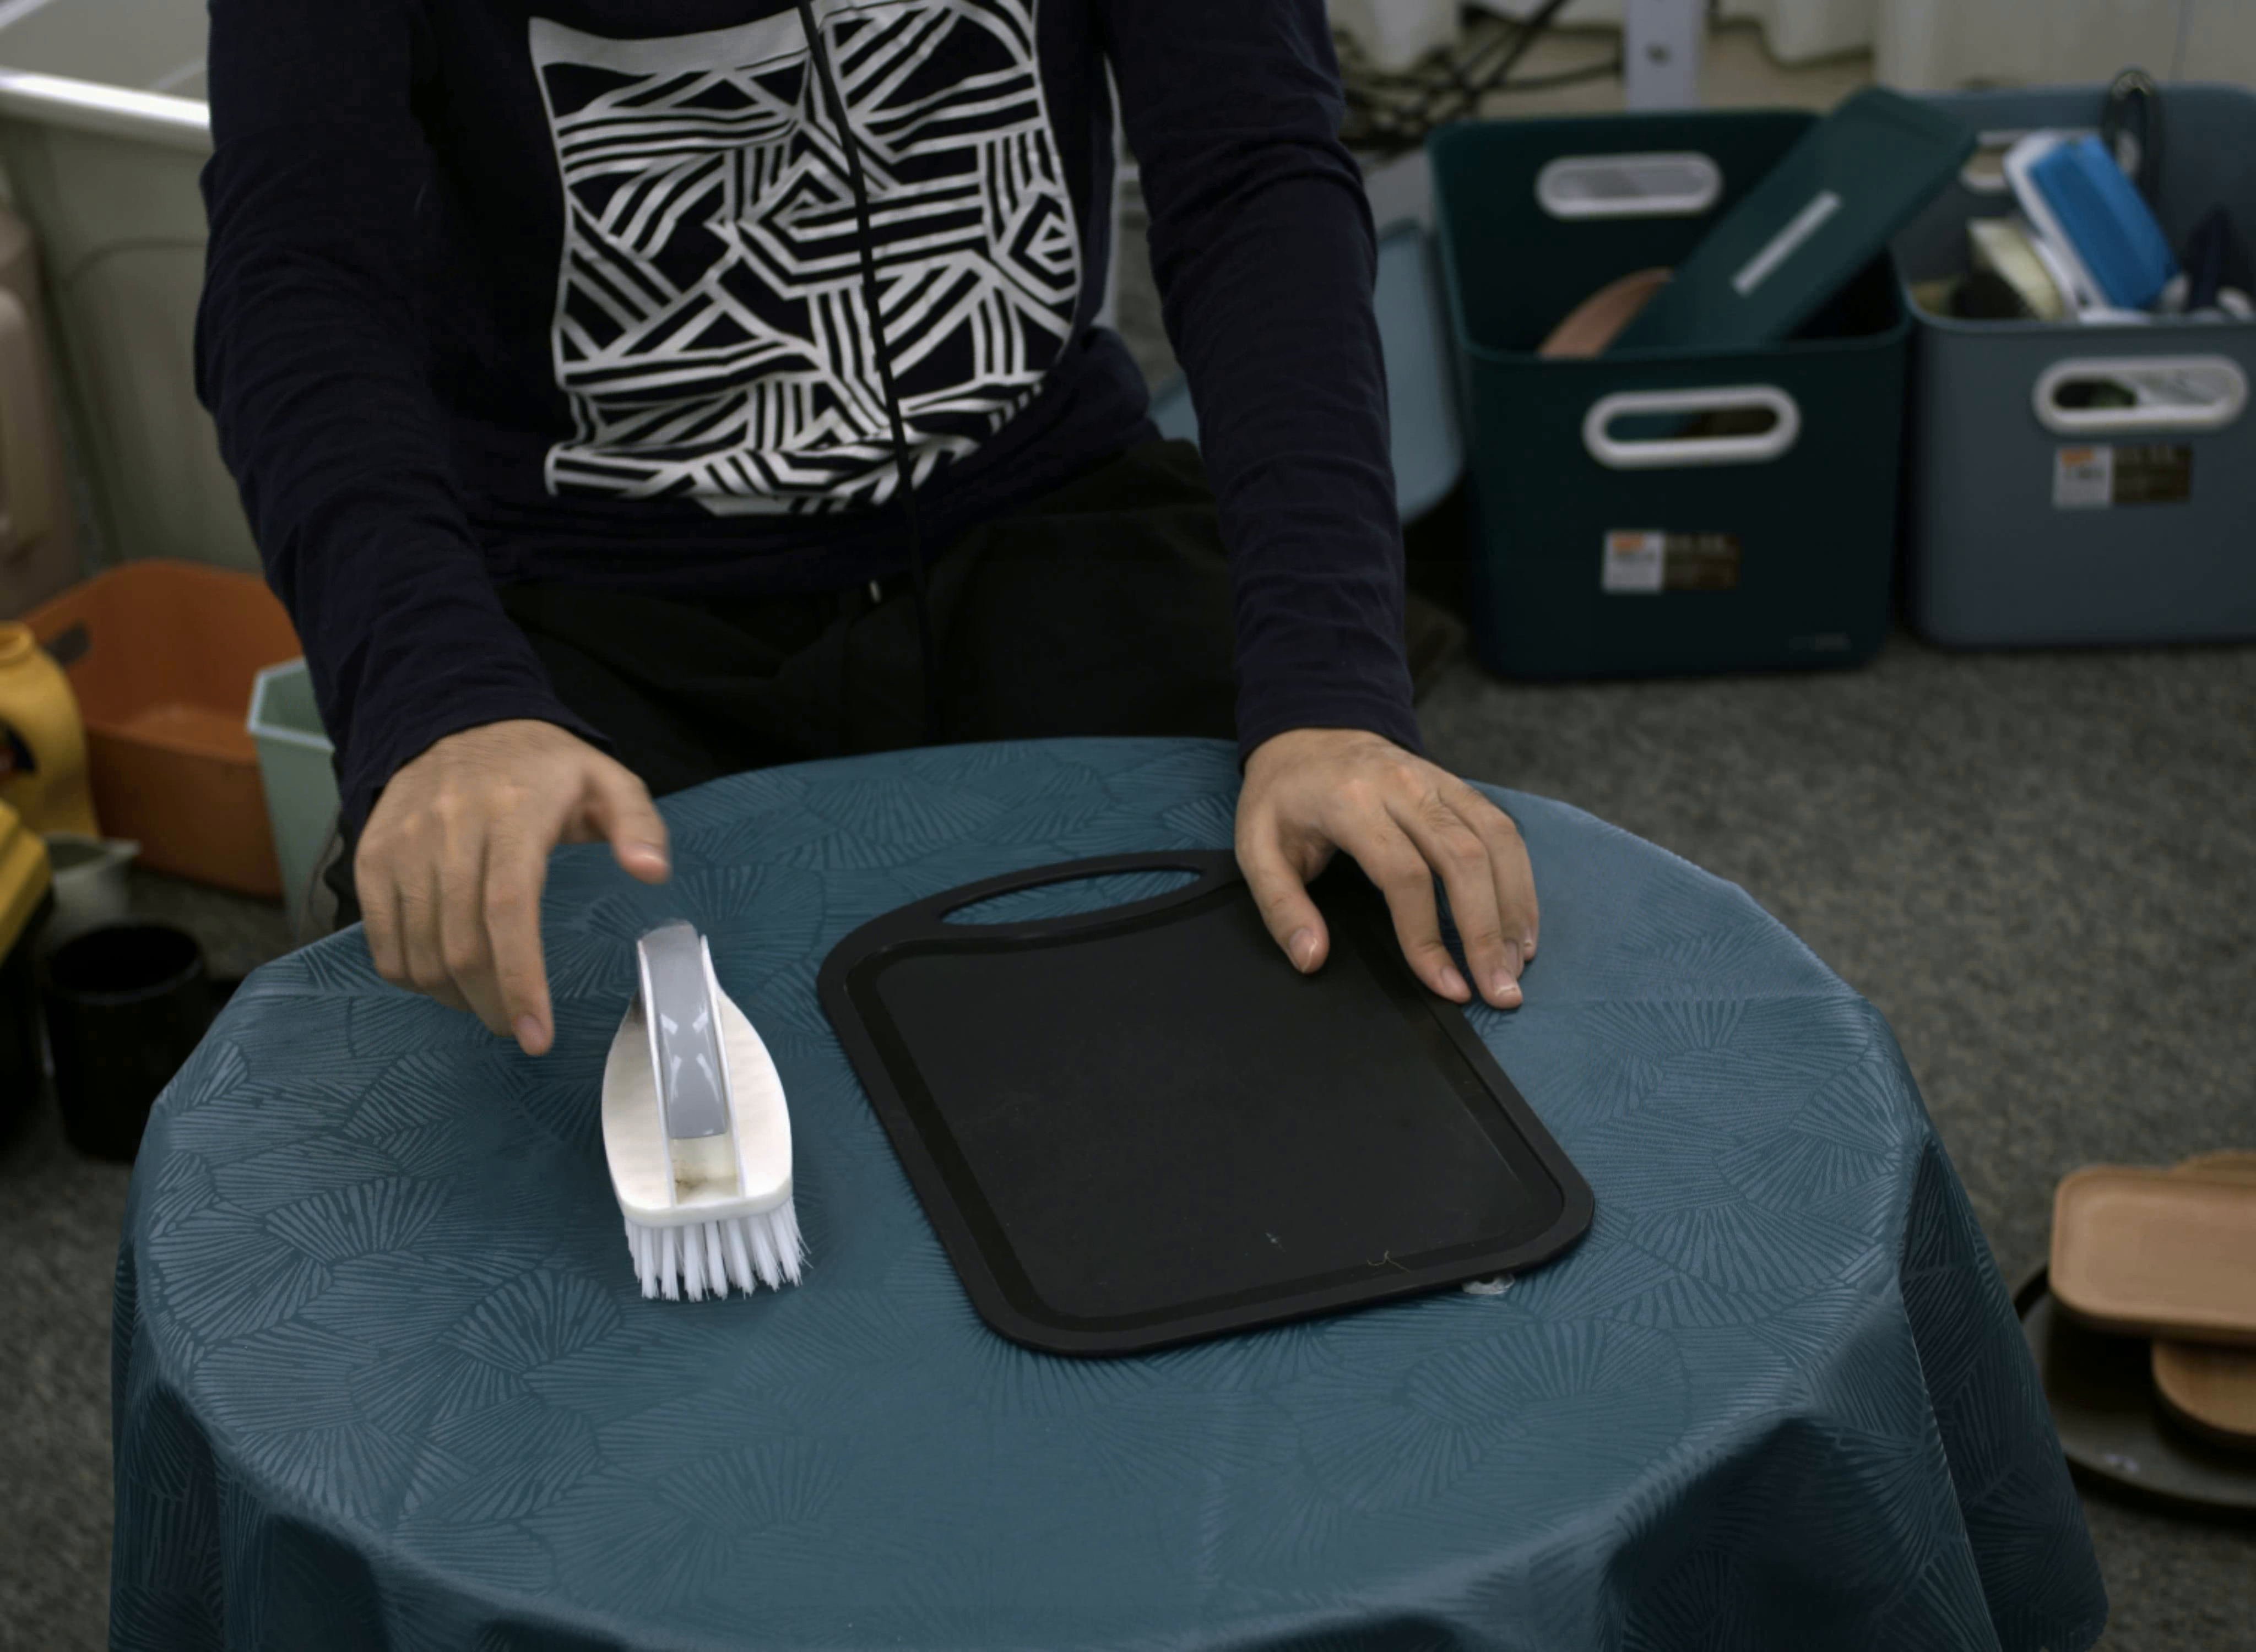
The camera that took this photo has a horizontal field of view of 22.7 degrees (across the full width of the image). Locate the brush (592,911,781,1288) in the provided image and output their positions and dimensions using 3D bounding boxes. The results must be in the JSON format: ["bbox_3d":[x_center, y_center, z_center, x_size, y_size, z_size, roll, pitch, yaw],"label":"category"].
[{"bbox_3d":[-0.150,0.075,1.864,0.061,0.093,0.177,-4,24,-7],"label":"brush"}]

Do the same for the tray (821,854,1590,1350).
[{"bbox_3d":[0.017,0.085,1.921,0.211,0.009,0.328,-9,27,-13],"label":"tray"}]
